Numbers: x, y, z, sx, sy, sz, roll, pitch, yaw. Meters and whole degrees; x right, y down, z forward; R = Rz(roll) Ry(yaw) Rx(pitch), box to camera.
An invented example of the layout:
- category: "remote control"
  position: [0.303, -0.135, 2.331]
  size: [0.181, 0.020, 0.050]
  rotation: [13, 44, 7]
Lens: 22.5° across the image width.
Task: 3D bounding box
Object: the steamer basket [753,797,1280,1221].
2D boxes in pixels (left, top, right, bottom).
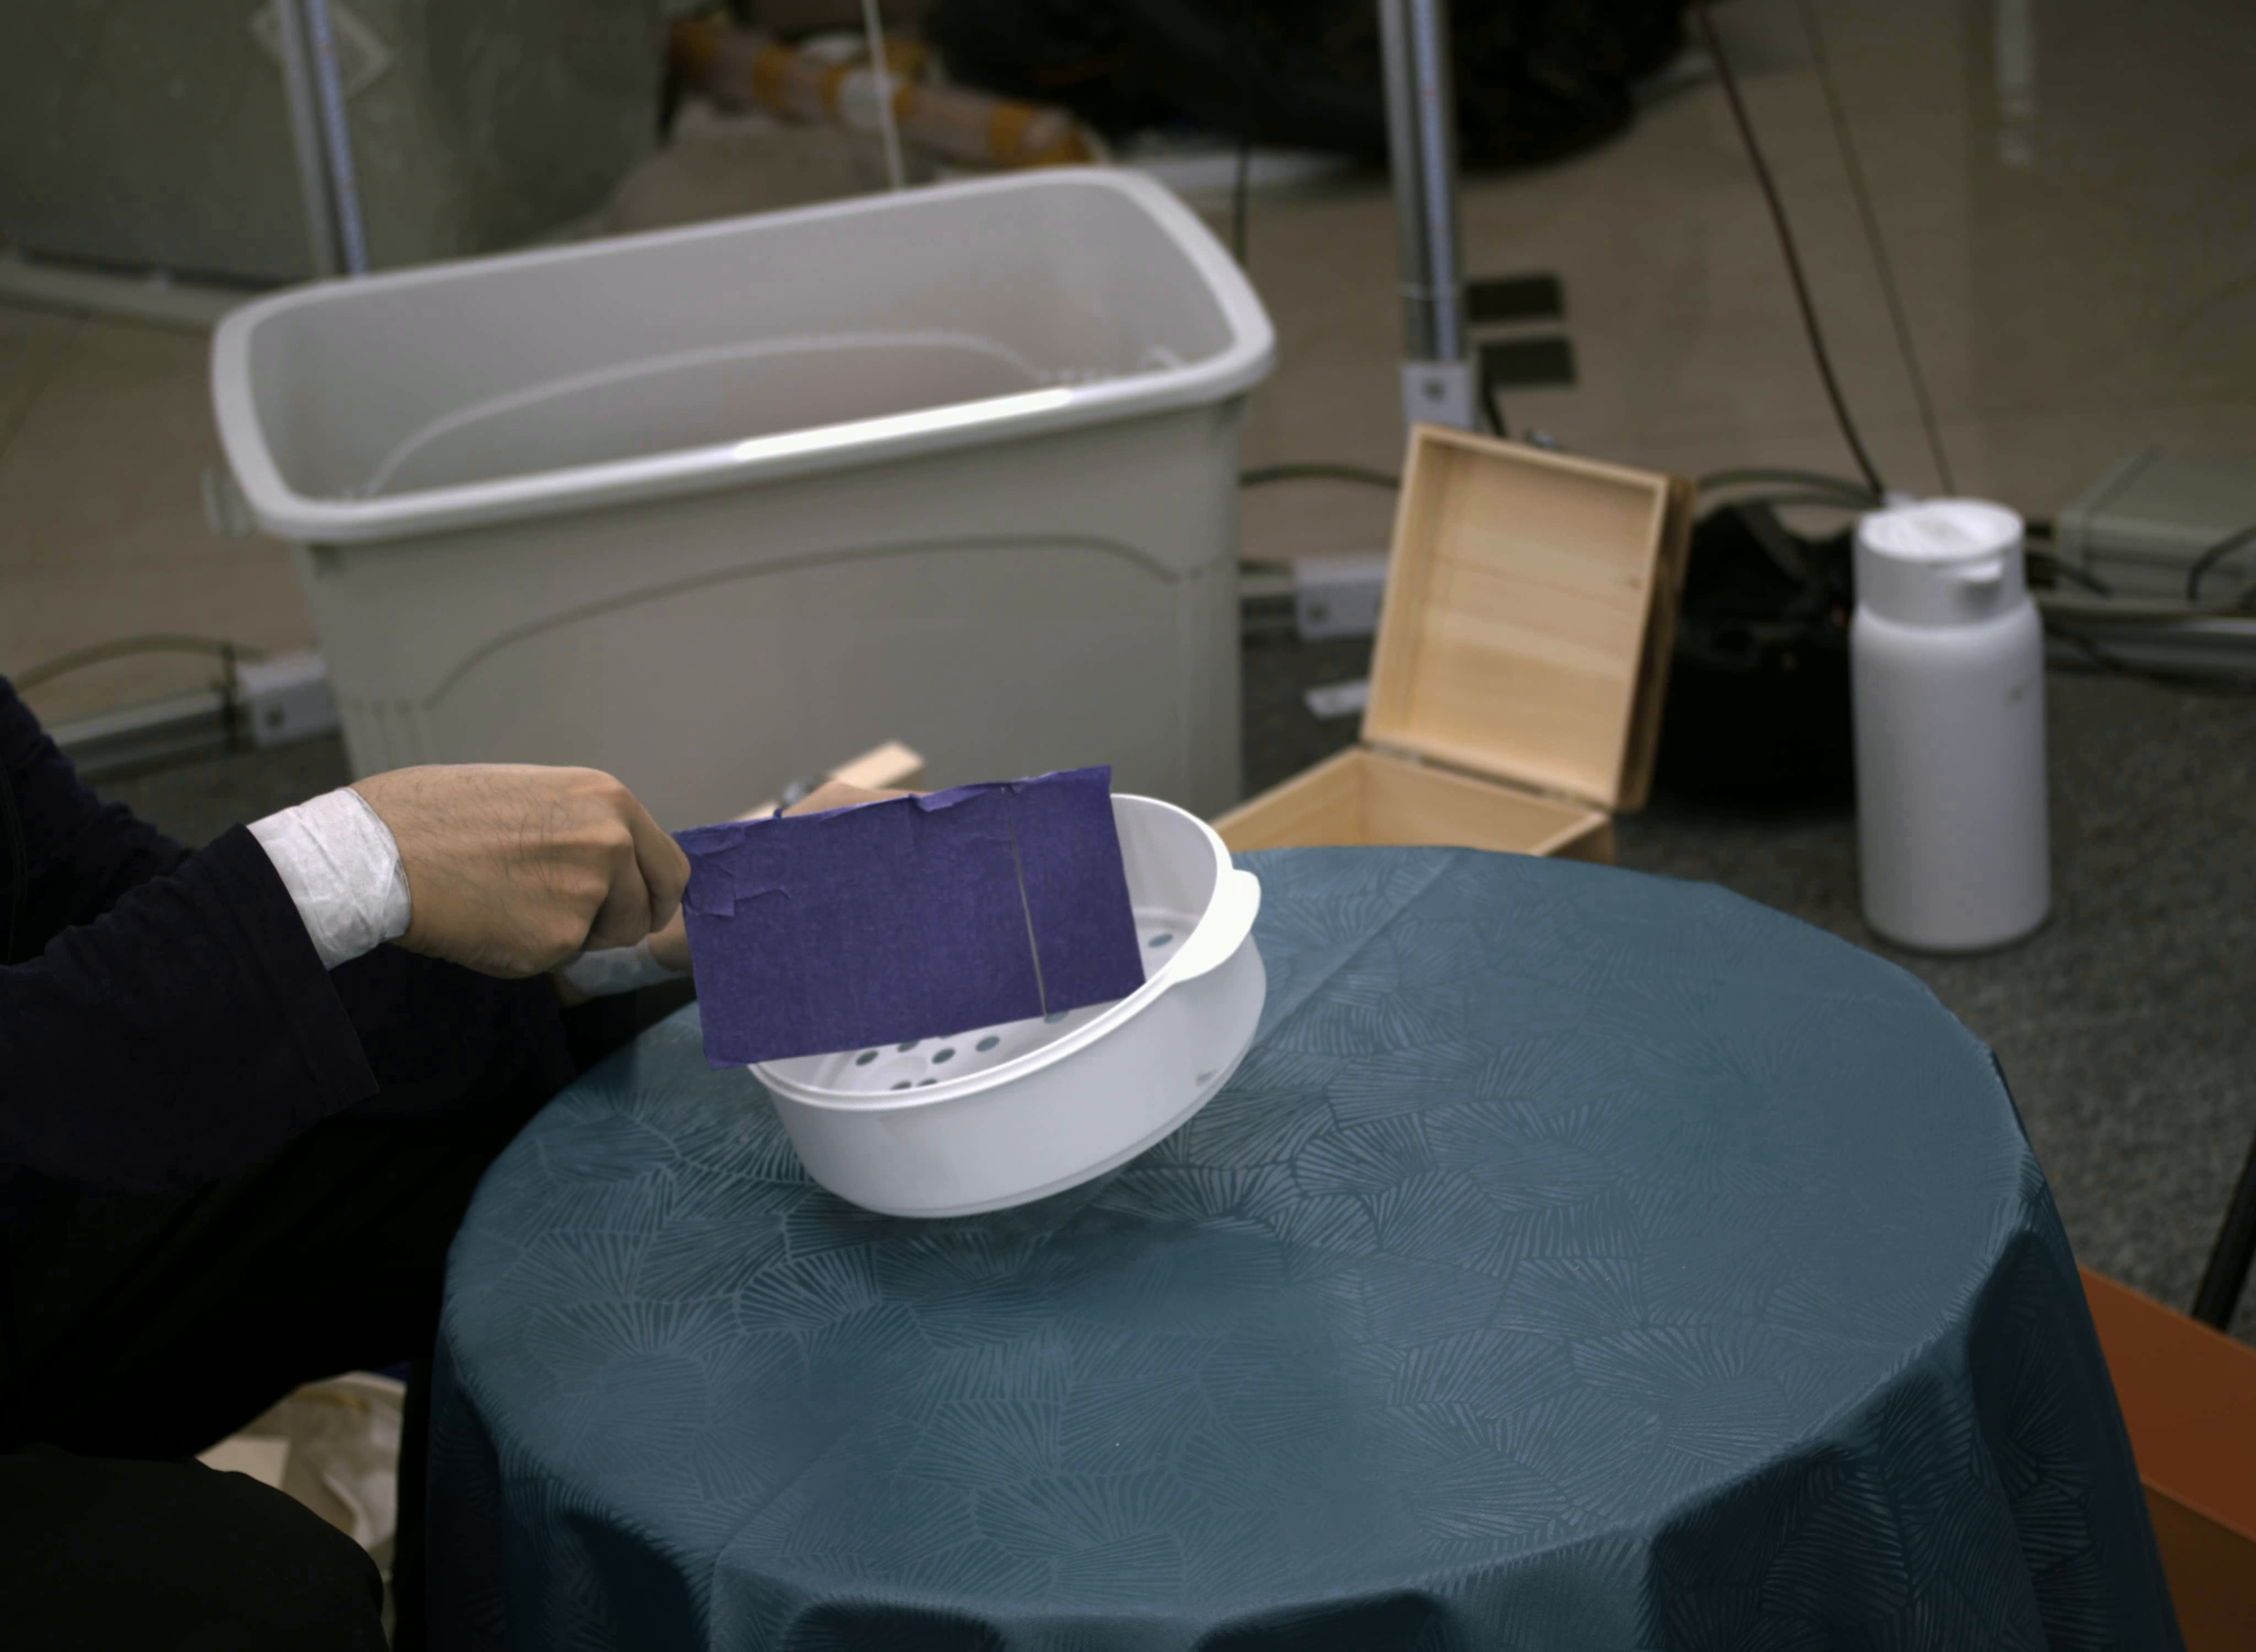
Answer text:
- category: "steamer basket"
  position: [-0.040, 0.070, 2.163]
  size: [0.230, 0.070, 0.199]
  rotation: [-9, 30, 28]

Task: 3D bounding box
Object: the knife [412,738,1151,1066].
- category: "knife"
  position: [-0.117, 0.037, 2.096]
  size: [0.314, 0.104, 0.032]
  rotation: [-10, 0, -36]
